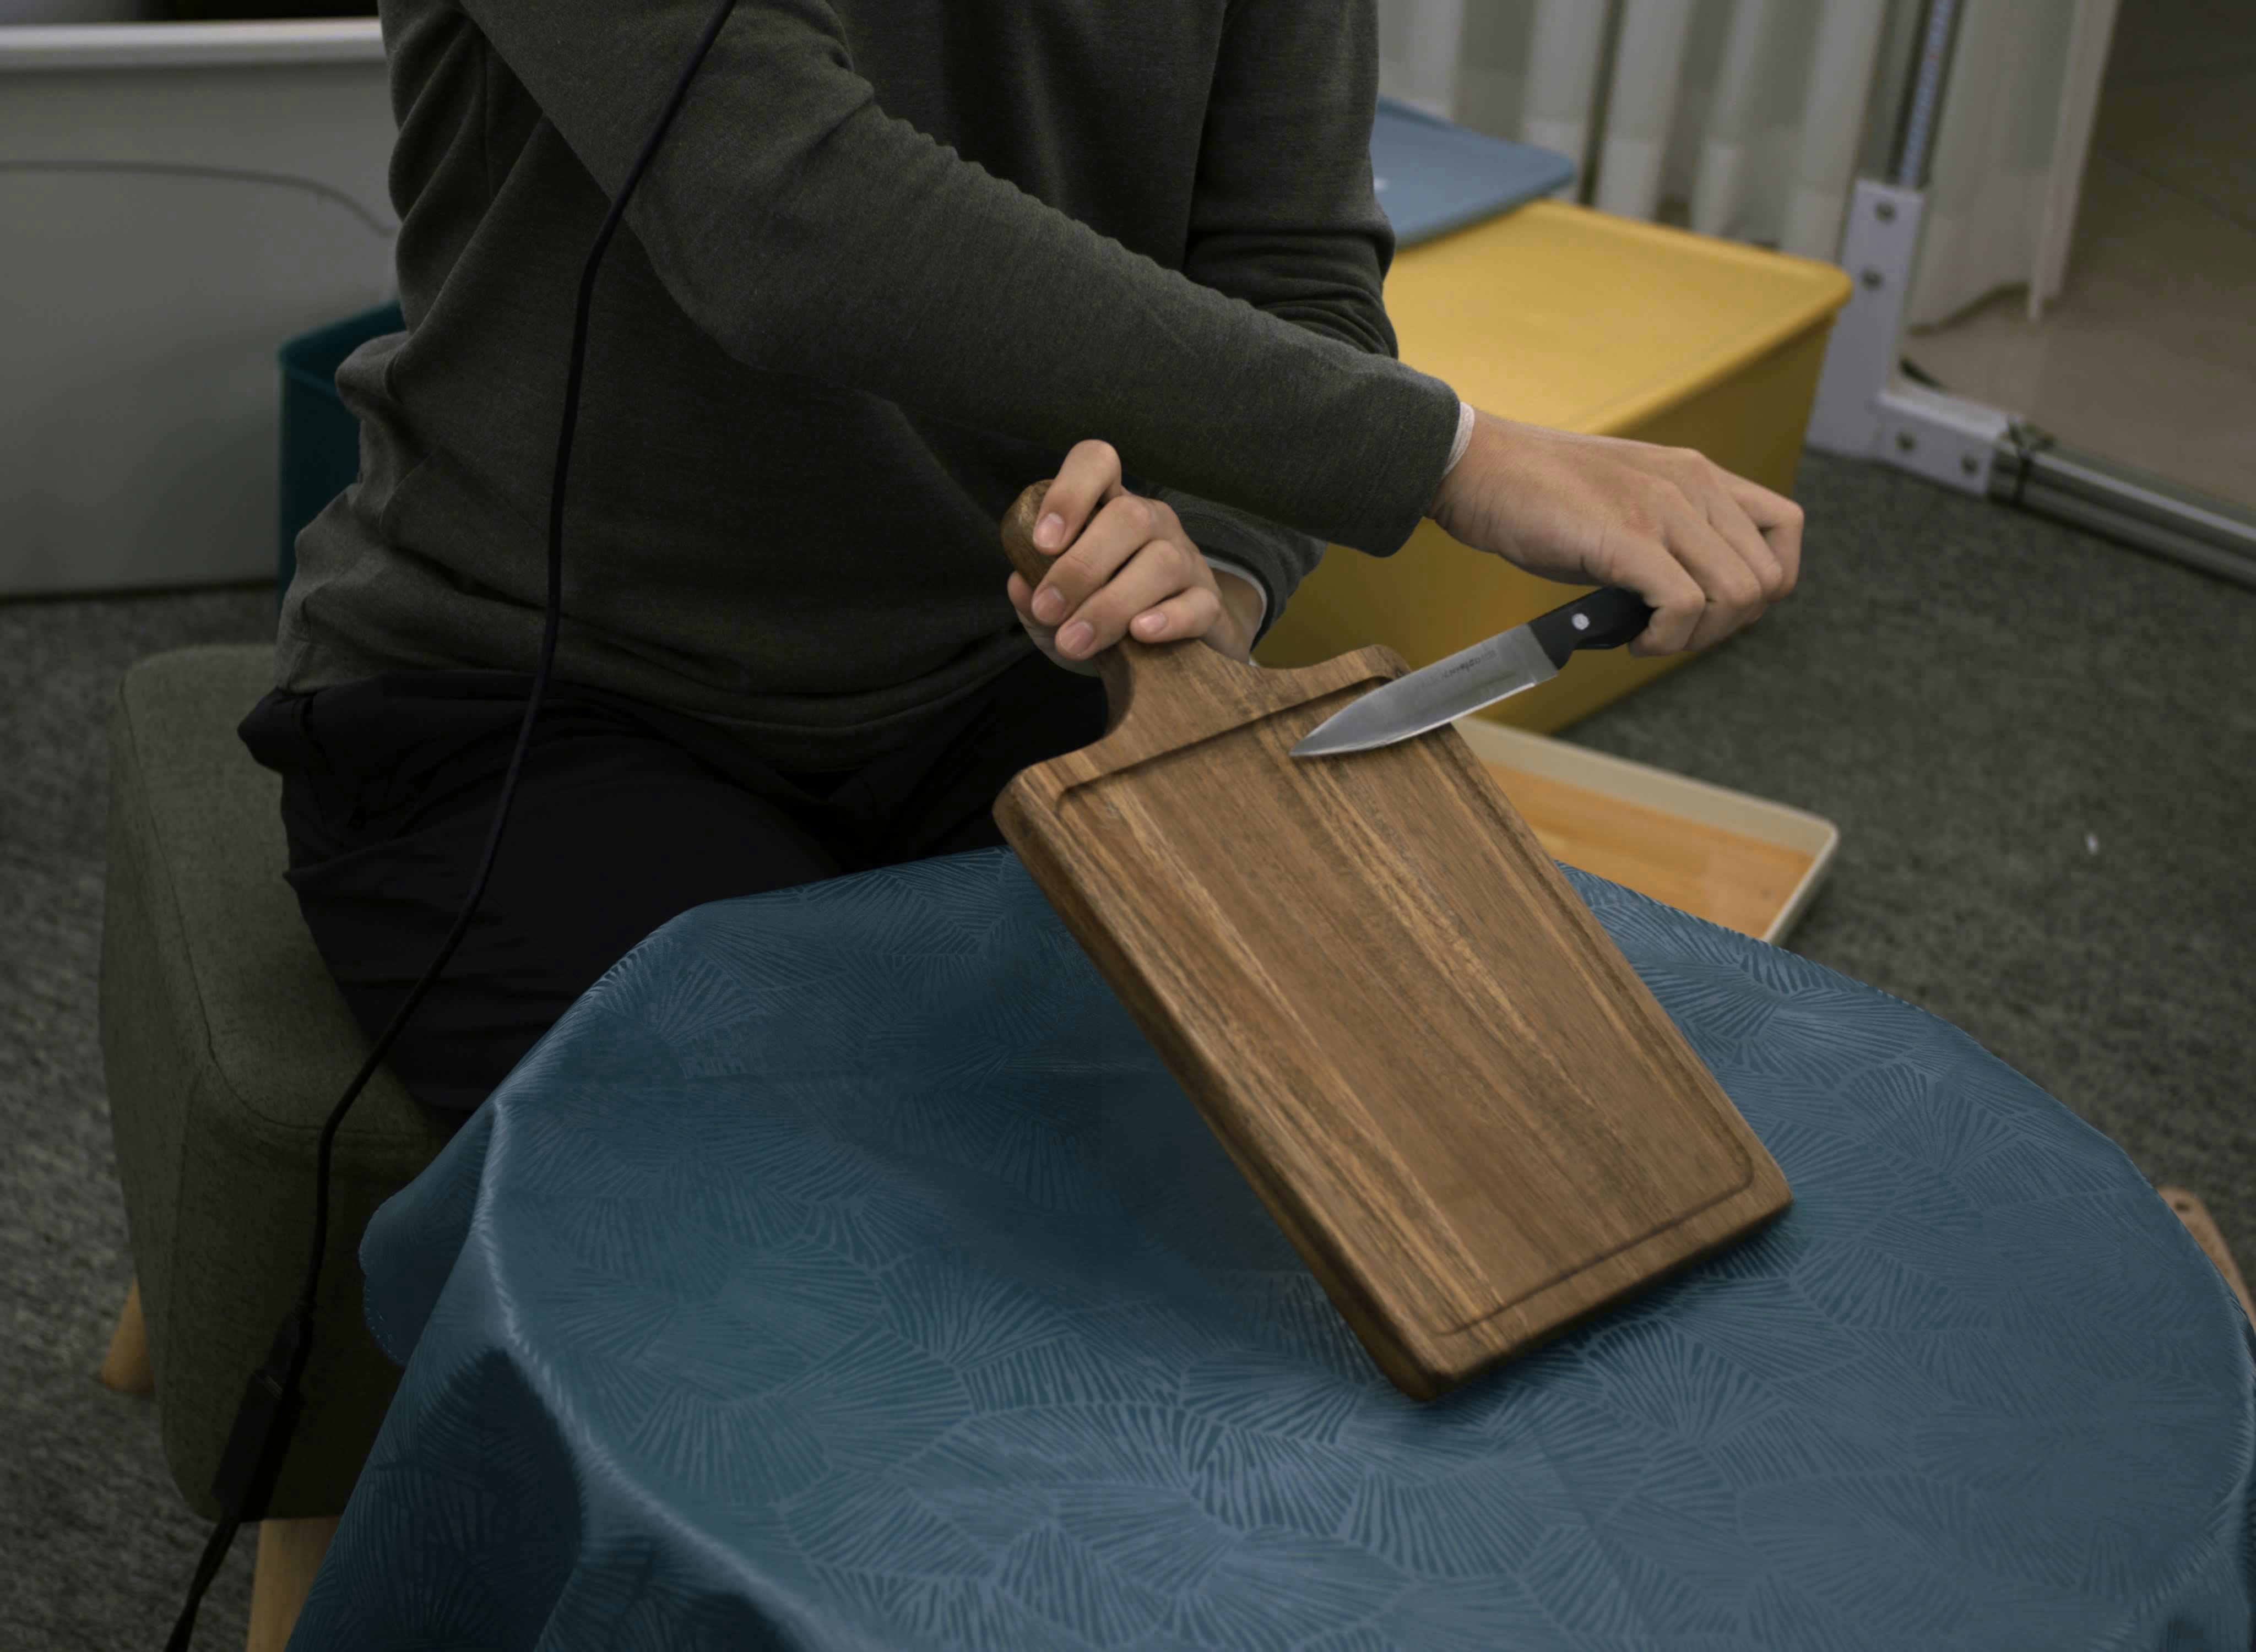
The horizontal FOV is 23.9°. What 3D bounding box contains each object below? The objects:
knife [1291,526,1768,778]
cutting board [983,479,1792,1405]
[{"bbox_3d":[0.143,-0.062,1.897,0.237,0.016,0.024,-26,82,-35],"label":"knife"},{"bbox_3d":[0.062,0.021,1.810,0.200,0.023,0.354,-21,68,-42],"label":"cutting board"}]
